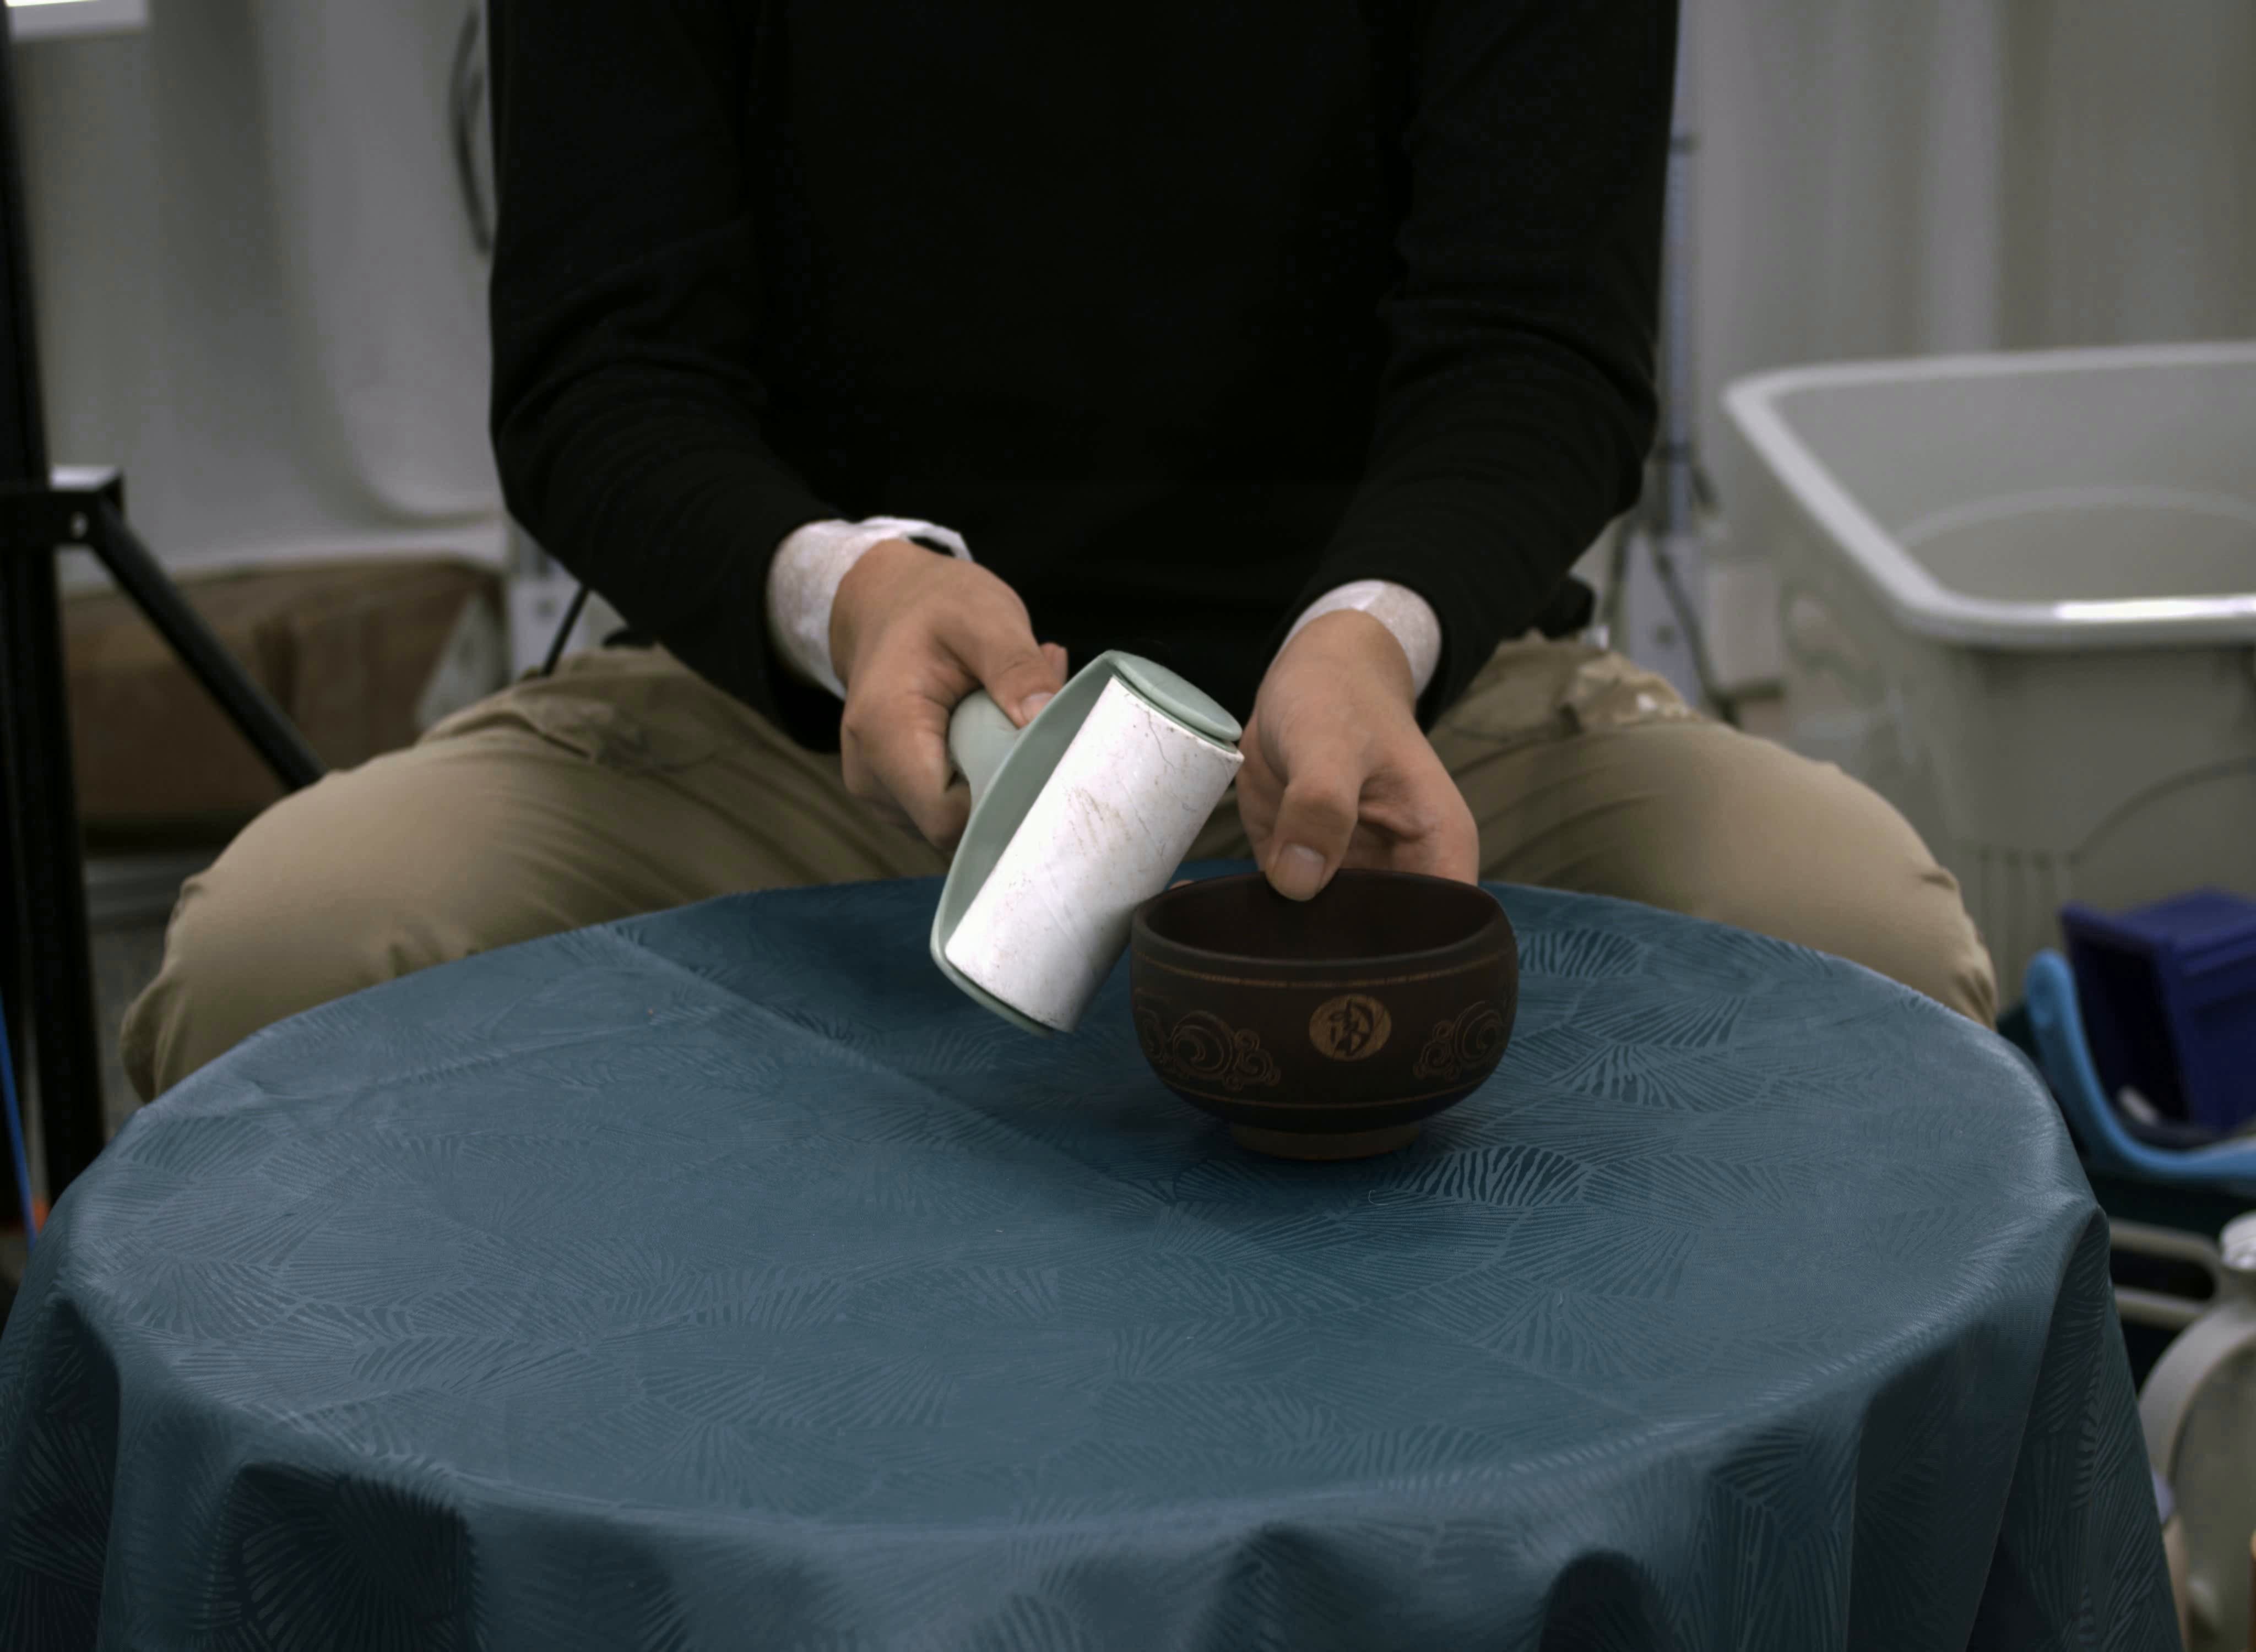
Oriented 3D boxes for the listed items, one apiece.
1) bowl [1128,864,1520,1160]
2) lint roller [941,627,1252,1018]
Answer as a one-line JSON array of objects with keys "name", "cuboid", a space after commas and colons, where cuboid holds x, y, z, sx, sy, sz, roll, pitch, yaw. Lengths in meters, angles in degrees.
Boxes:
[{"name": "bowl", "cuboid": [0.059, 0.059, 1.587, 0.117, 0.070, 0.118, -3, 13, -1]}, {"name": "lint roller", "cuboid": [-0.026, -0.019, 1.683, 0.047, 0.117, 0.200, 28, 7, -22]}]
